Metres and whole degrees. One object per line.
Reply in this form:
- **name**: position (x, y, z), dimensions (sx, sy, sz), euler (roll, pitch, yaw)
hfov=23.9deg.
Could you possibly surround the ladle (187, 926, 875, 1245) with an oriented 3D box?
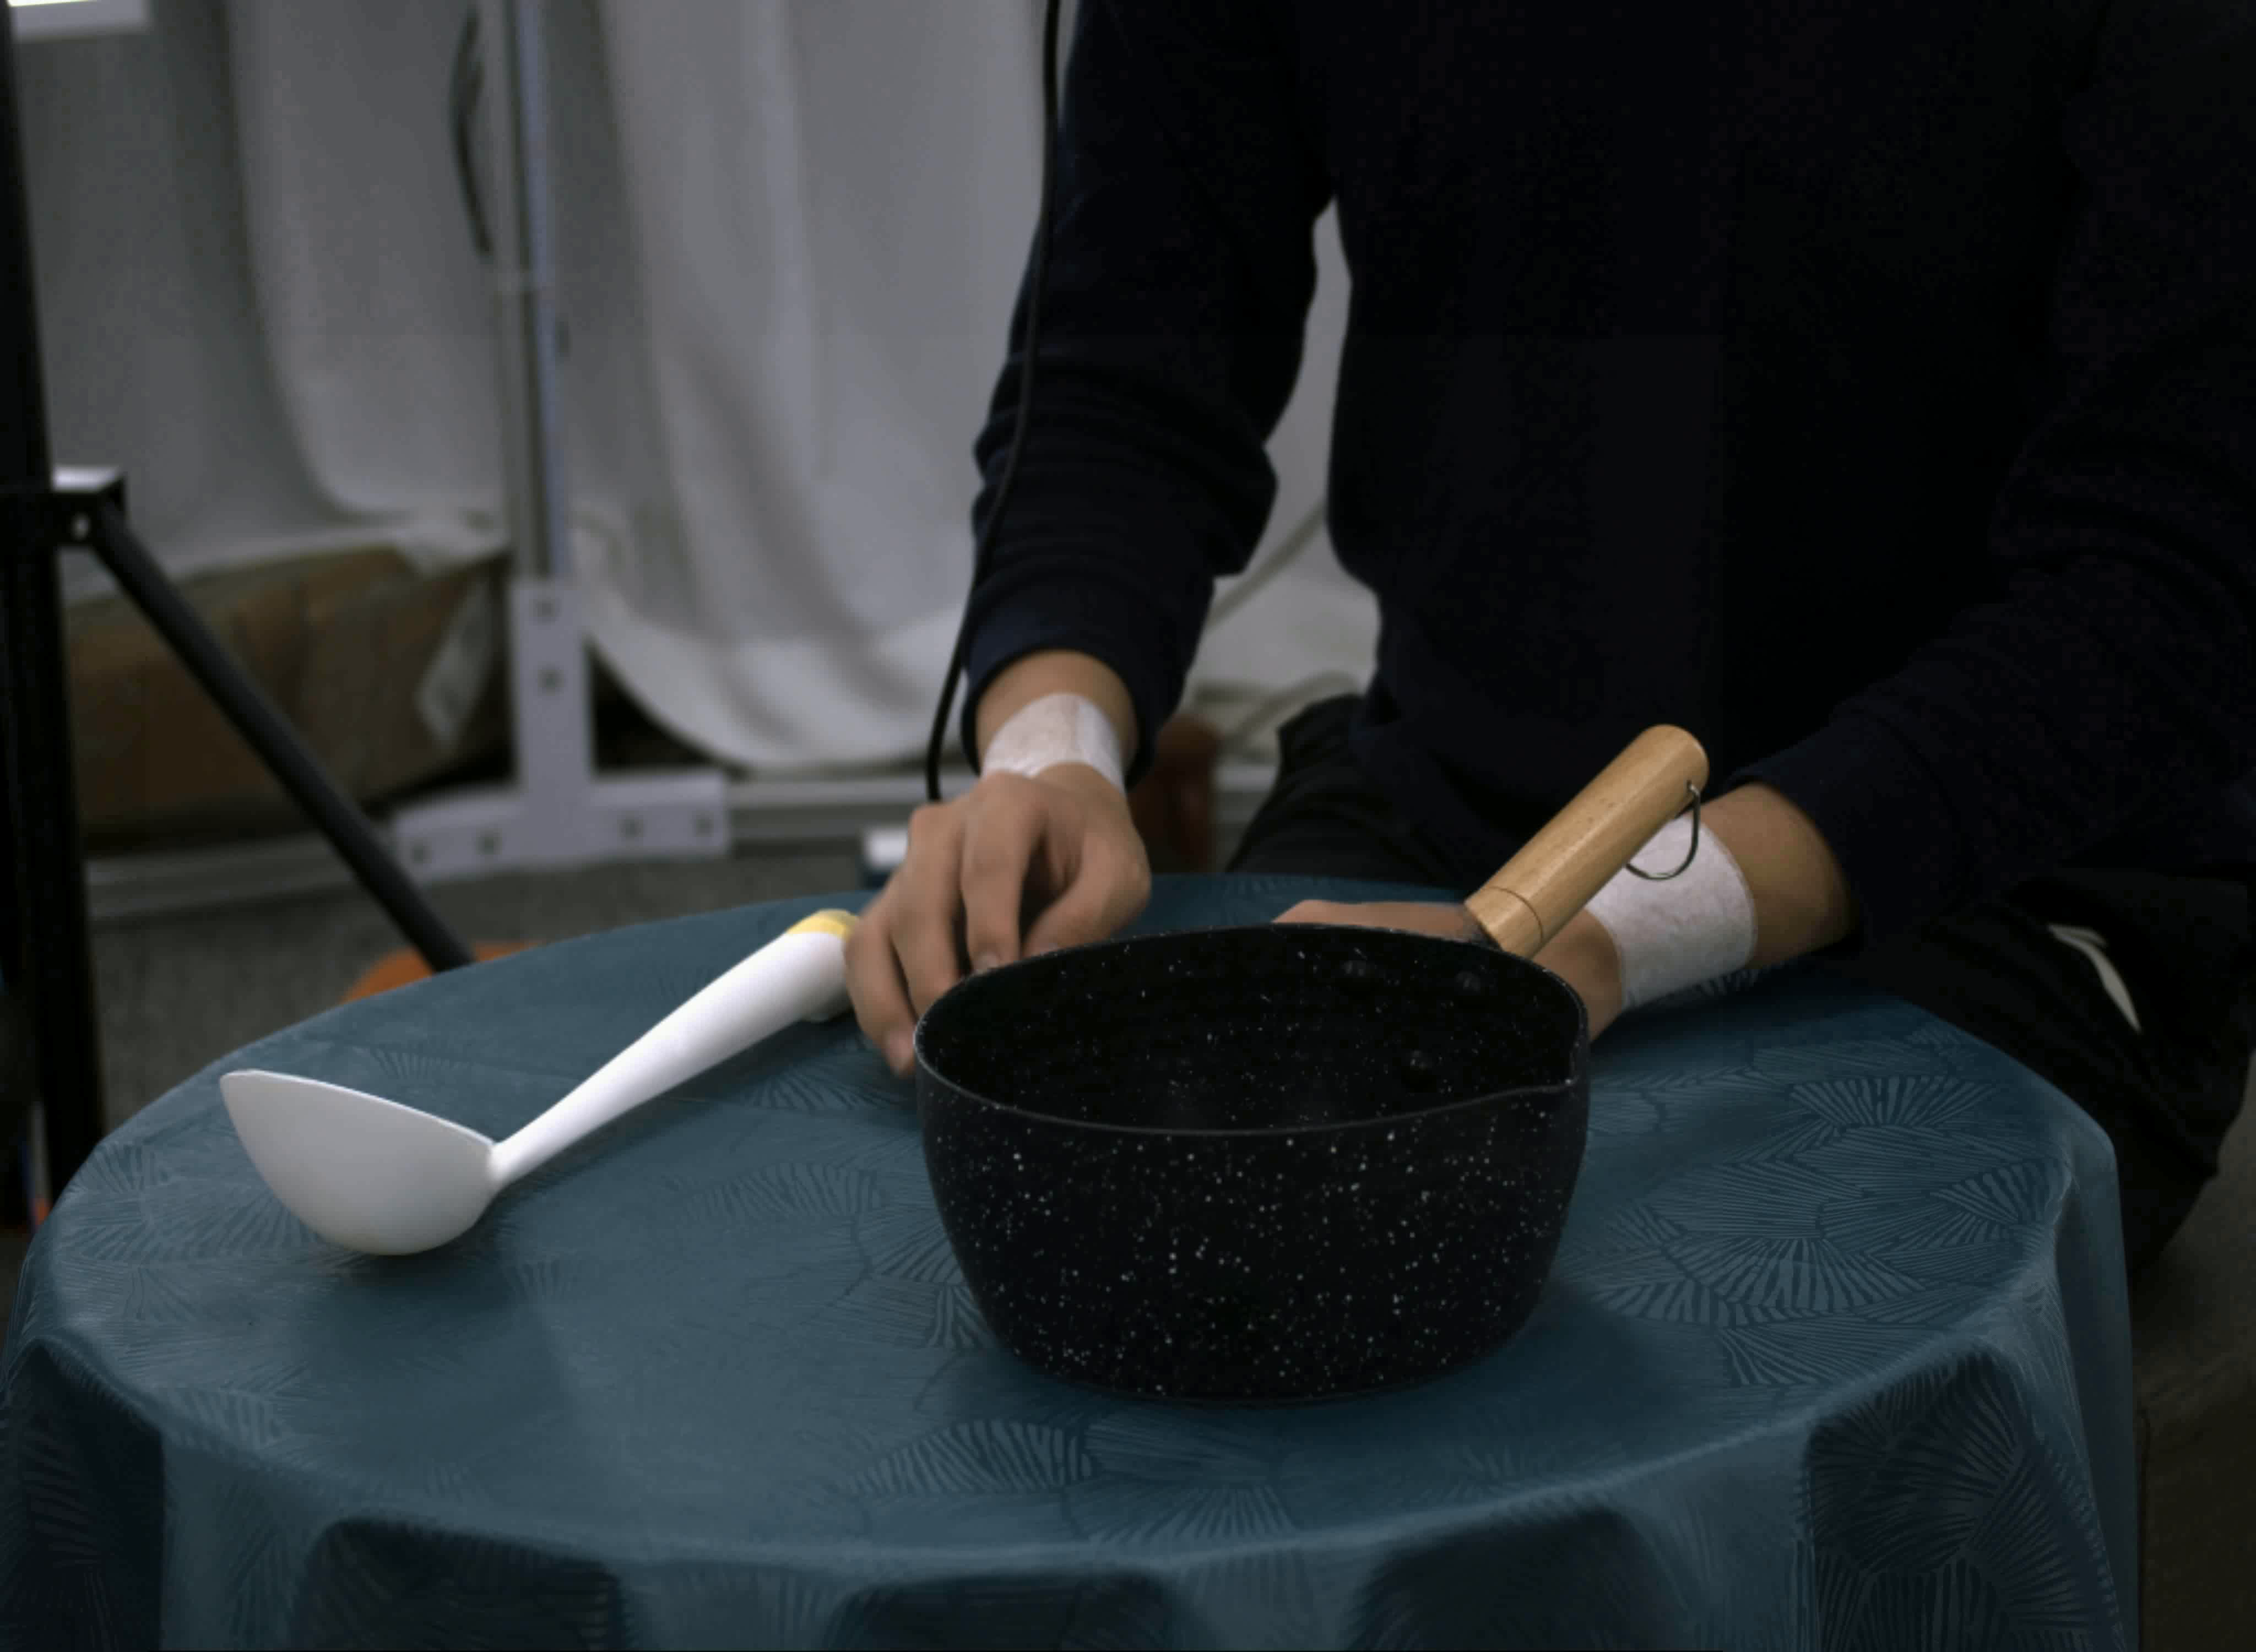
- **ladle**: position (-0.169, 0.064, 1.624), dimensions (0.092, 0.070, 0.287), euler (-1, 14, 32)

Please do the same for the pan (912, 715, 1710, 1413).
- **pan**: position (0.077, 0.062, 1.508), dimensions (0.211, 0.108, 0.336), euler (7, 19, 33)
